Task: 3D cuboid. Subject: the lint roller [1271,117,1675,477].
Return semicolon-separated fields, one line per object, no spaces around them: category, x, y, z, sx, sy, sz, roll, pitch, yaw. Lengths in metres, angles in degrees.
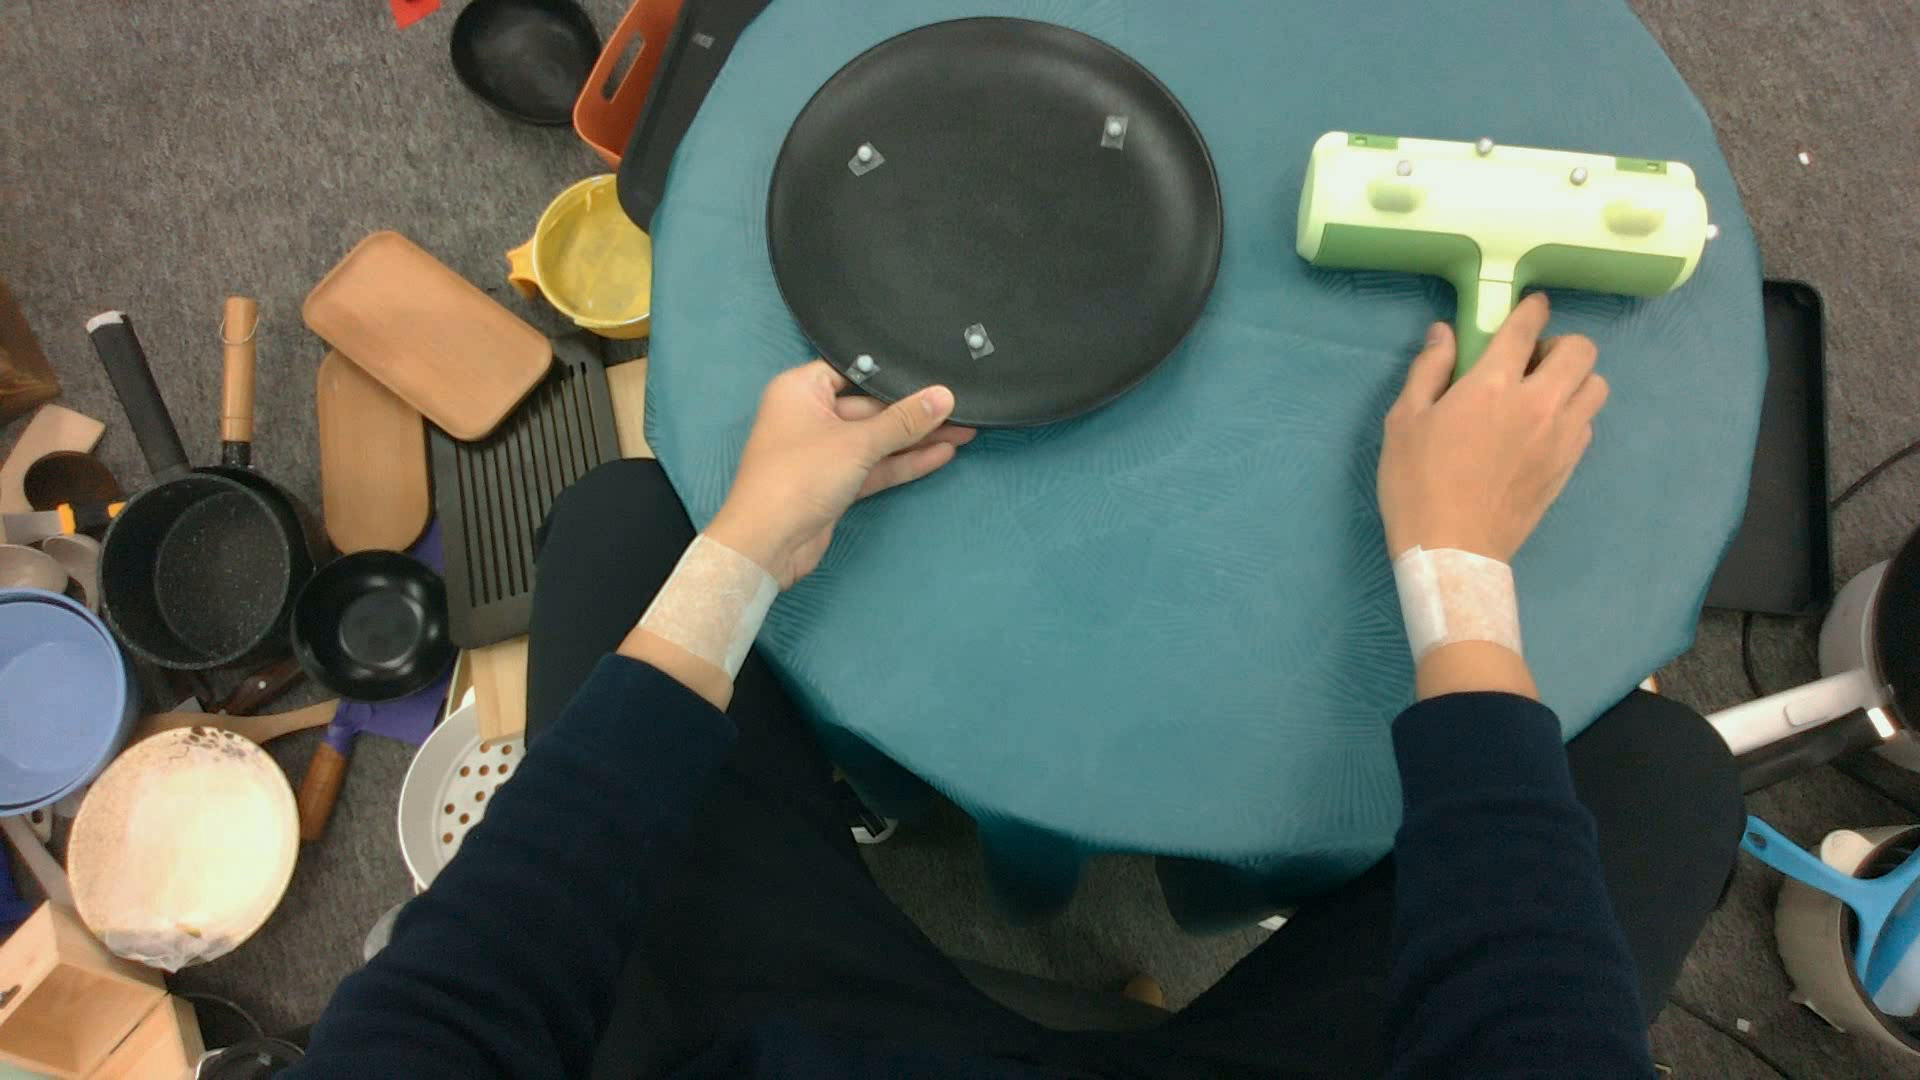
lint roller;0.259;-0.129;0.694;0.198;0.082;0.184;4;72;4

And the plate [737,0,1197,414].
plate;0.003;-0.179;0.739;0.244;0.023;0.245;0;75;1
